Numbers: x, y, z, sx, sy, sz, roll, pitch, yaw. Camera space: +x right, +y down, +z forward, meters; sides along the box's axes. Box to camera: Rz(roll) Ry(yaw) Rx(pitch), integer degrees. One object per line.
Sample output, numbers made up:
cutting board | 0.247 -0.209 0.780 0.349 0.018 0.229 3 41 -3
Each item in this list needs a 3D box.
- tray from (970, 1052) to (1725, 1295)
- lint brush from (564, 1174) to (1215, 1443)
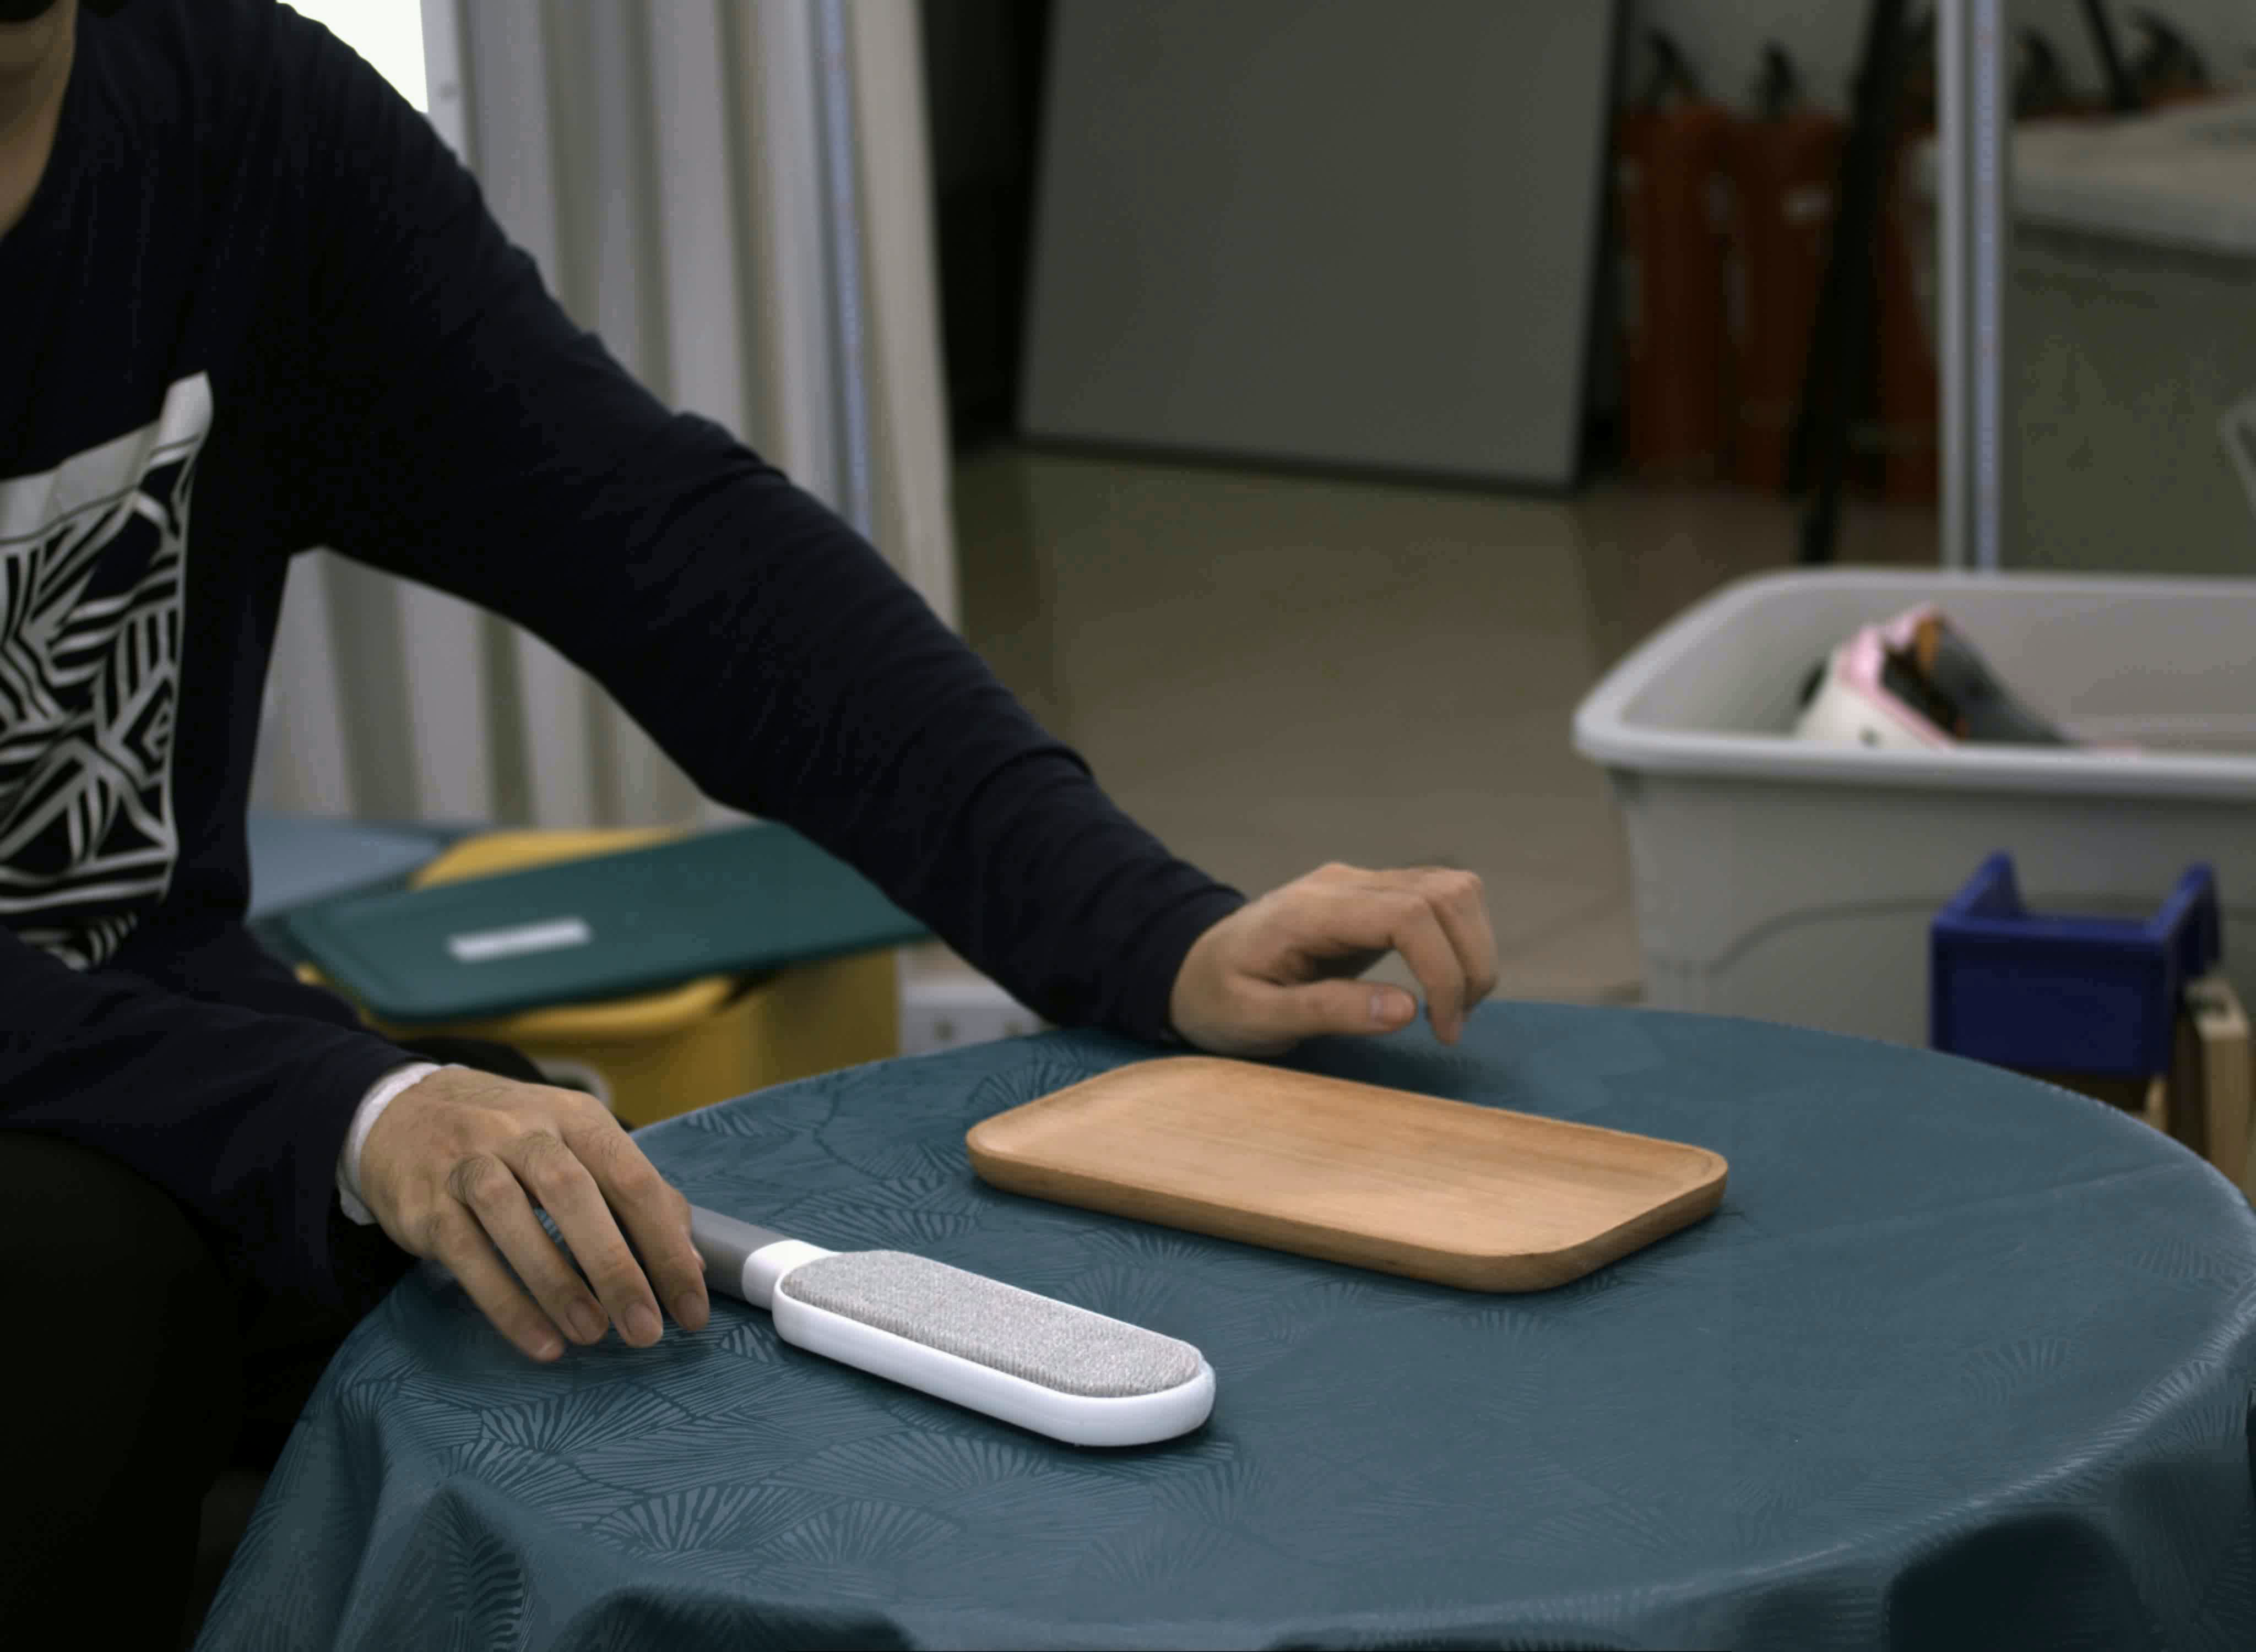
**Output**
tray | 0.069 0.112 1.758 0.253 0.023 0.128 8 16 44
lint brush | -0.080 0.143 1.651 0.059 0.021 0.312 -20 20 -35
